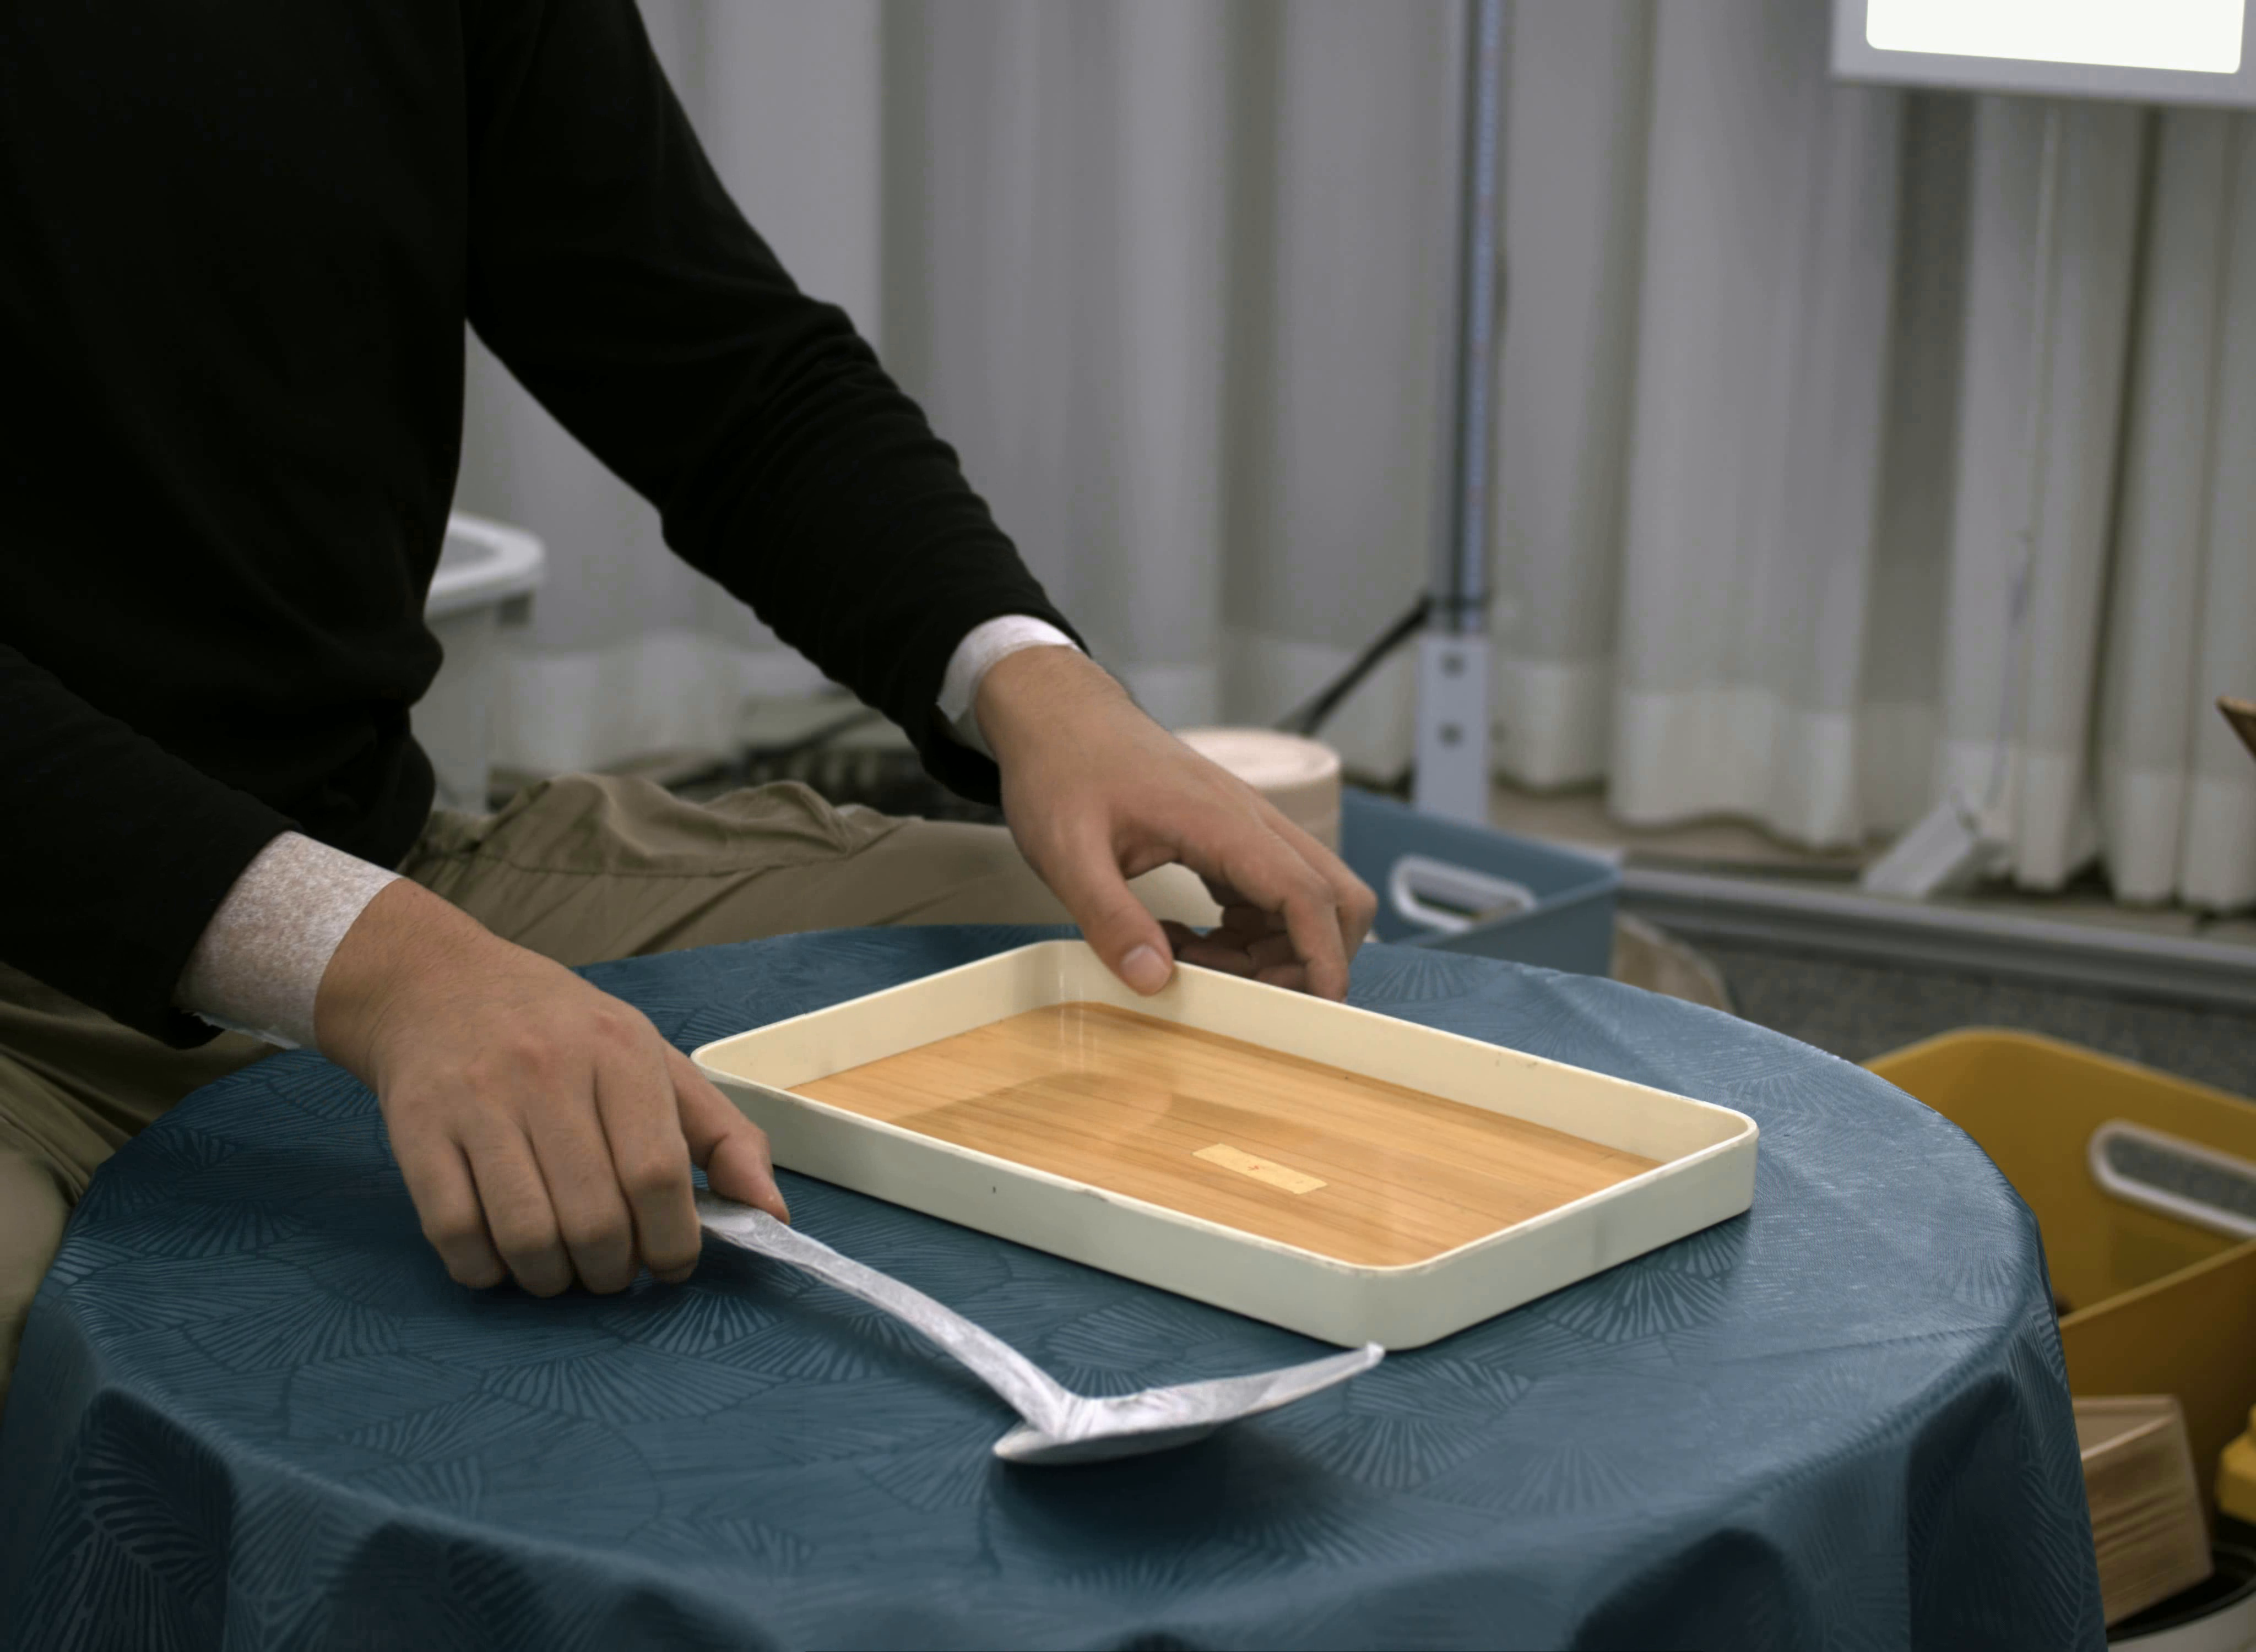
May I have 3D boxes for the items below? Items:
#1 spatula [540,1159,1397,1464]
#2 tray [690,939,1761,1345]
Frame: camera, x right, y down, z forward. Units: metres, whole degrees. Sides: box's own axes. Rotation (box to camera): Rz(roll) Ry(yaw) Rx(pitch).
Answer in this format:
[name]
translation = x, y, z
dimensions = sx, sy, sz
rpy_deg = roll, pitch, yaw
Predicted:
[spatula]
translation = -0.070, 0.127, 1.493
dimensions = 0.099, 0.045, 0.360
rpy_deg = -13, 21, -38
[tray]
translation = 0.027, 0.094, 1.638
dimensions = 0.296, 0.027, 0.192
rpy_deg = 14, 20, 40
